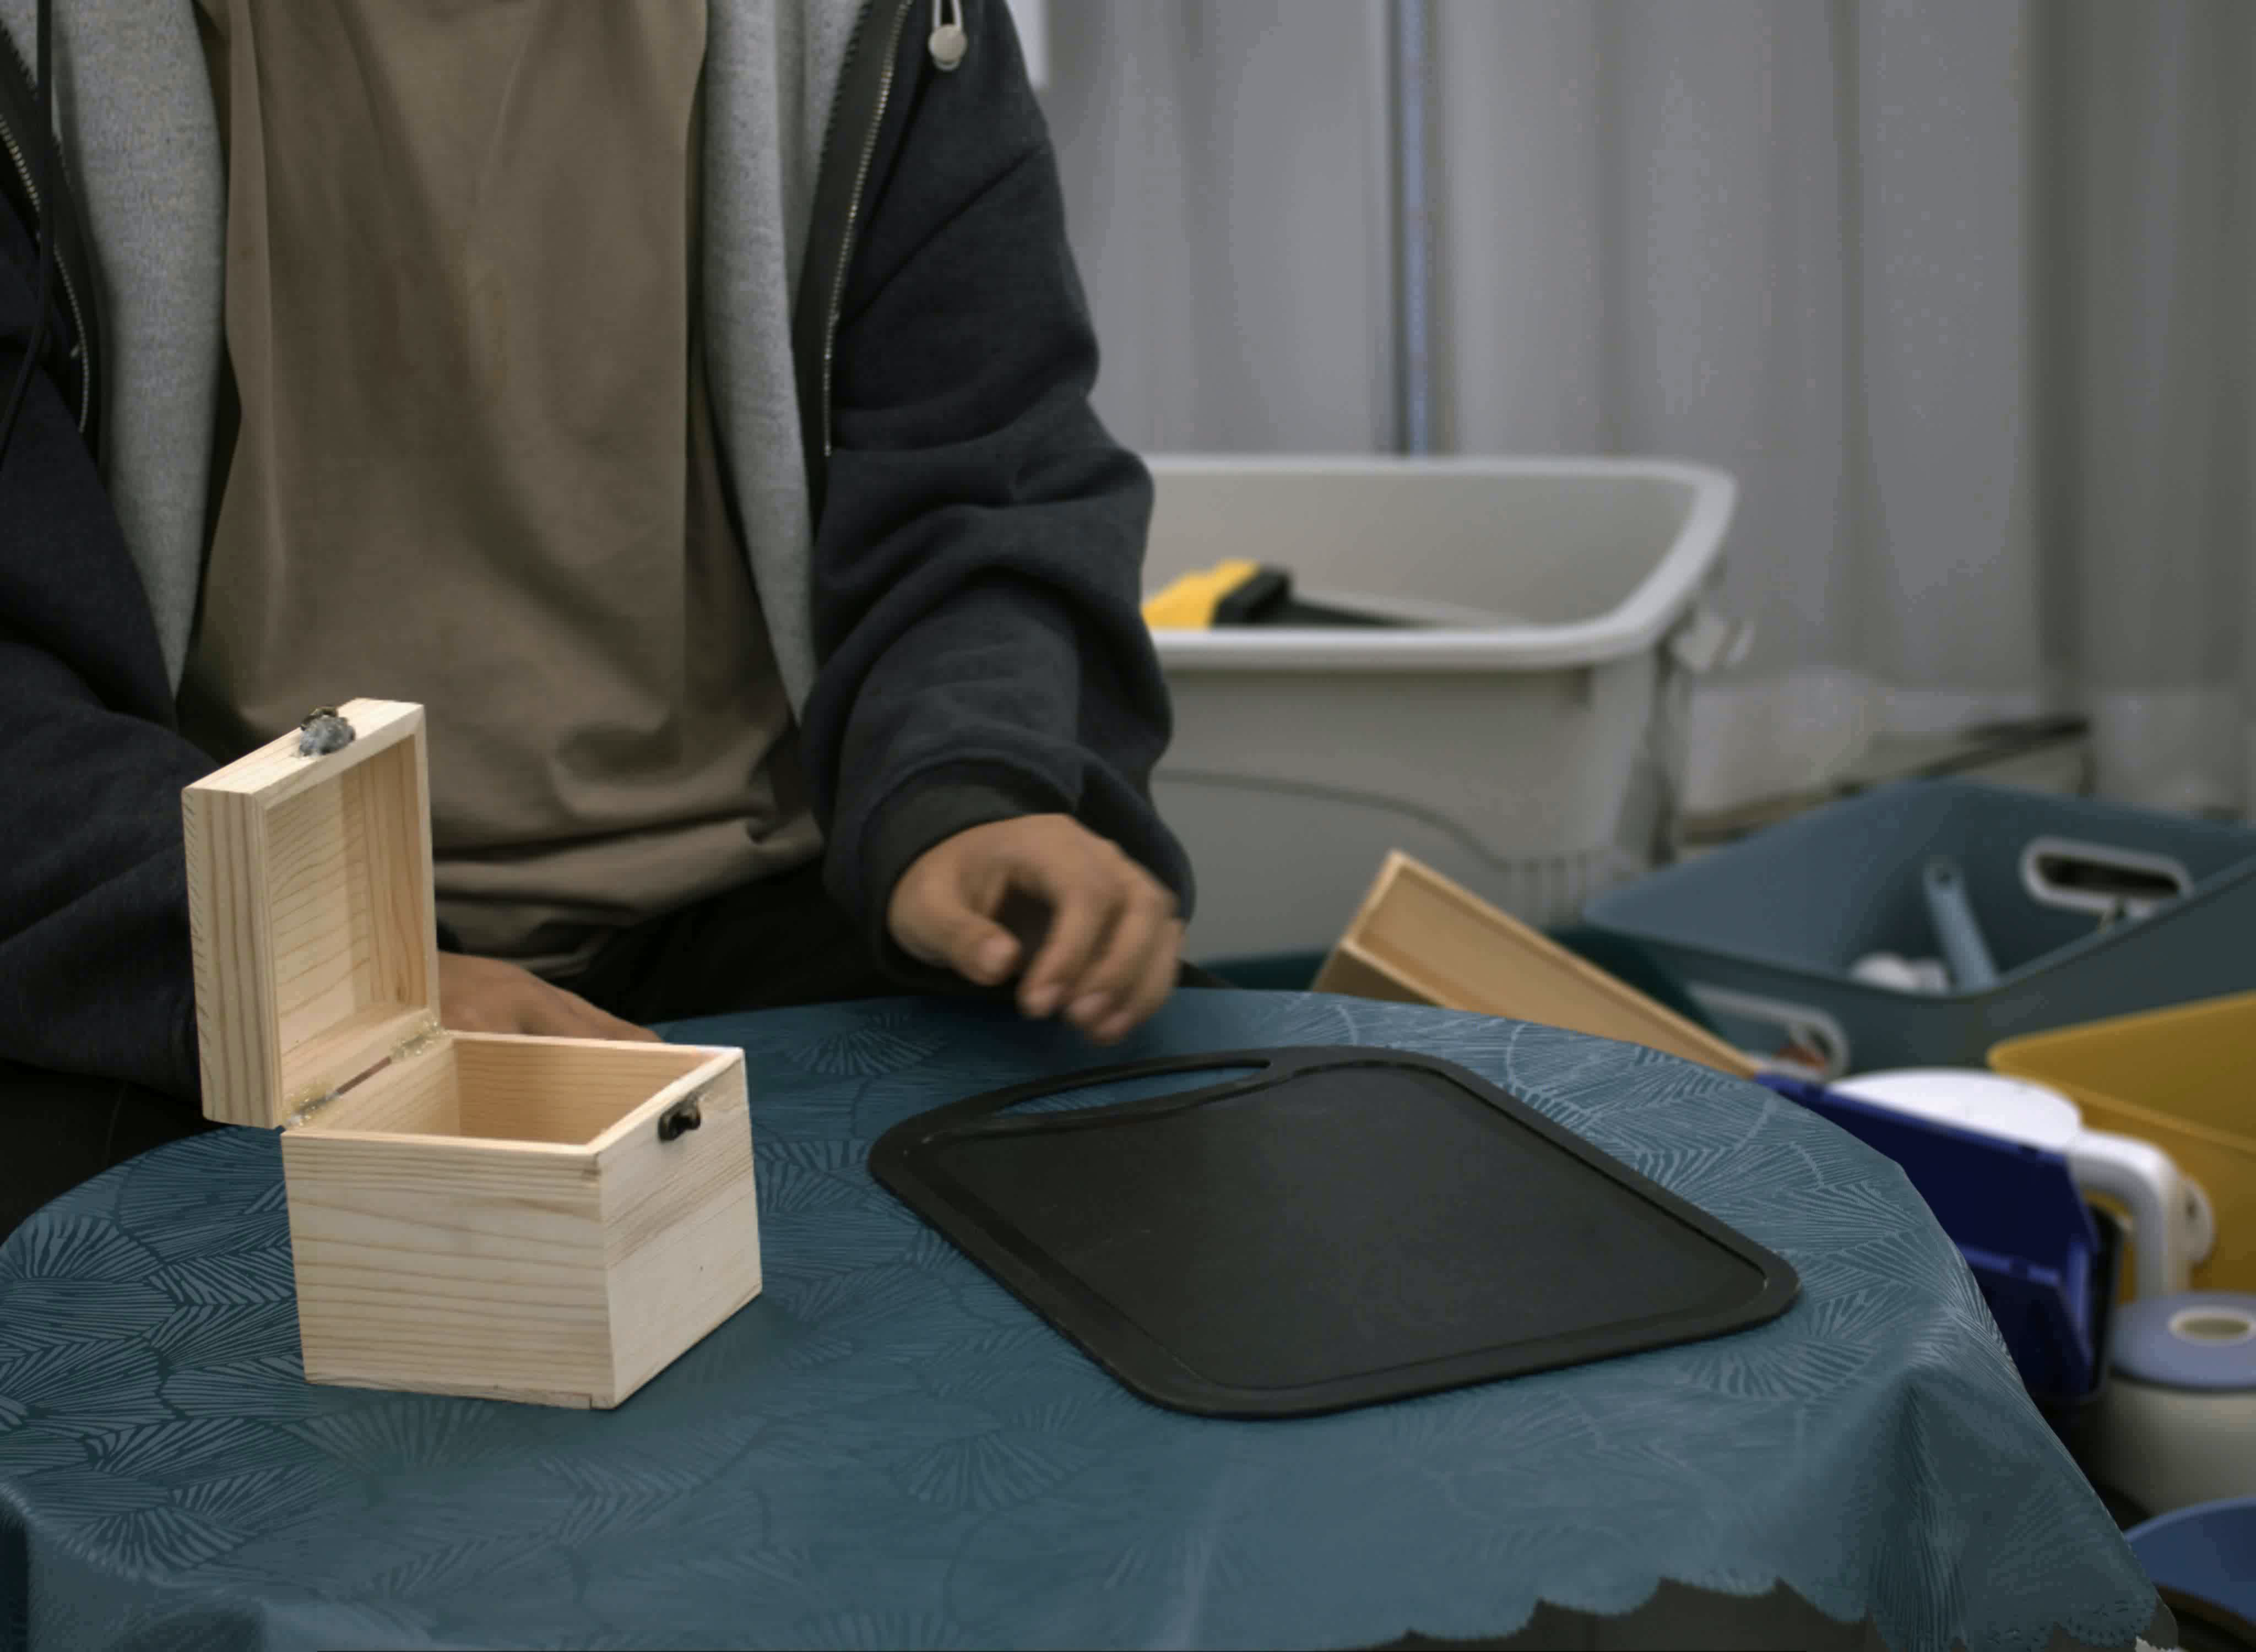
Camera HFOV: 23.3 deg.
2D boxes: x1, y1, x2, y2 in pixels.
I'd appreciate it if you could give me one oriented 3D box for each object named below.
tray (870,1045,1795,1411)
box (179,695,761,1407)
[{"bbox_3d":[0.052,0.117,1.686,0.210,0.010,0.328,-8,16,-20],"label":"tray"},{"bbox_3d":[-0.188,0.062,1.594,0.134,0.184,0.103,1,15,21],"label":"box"}]
